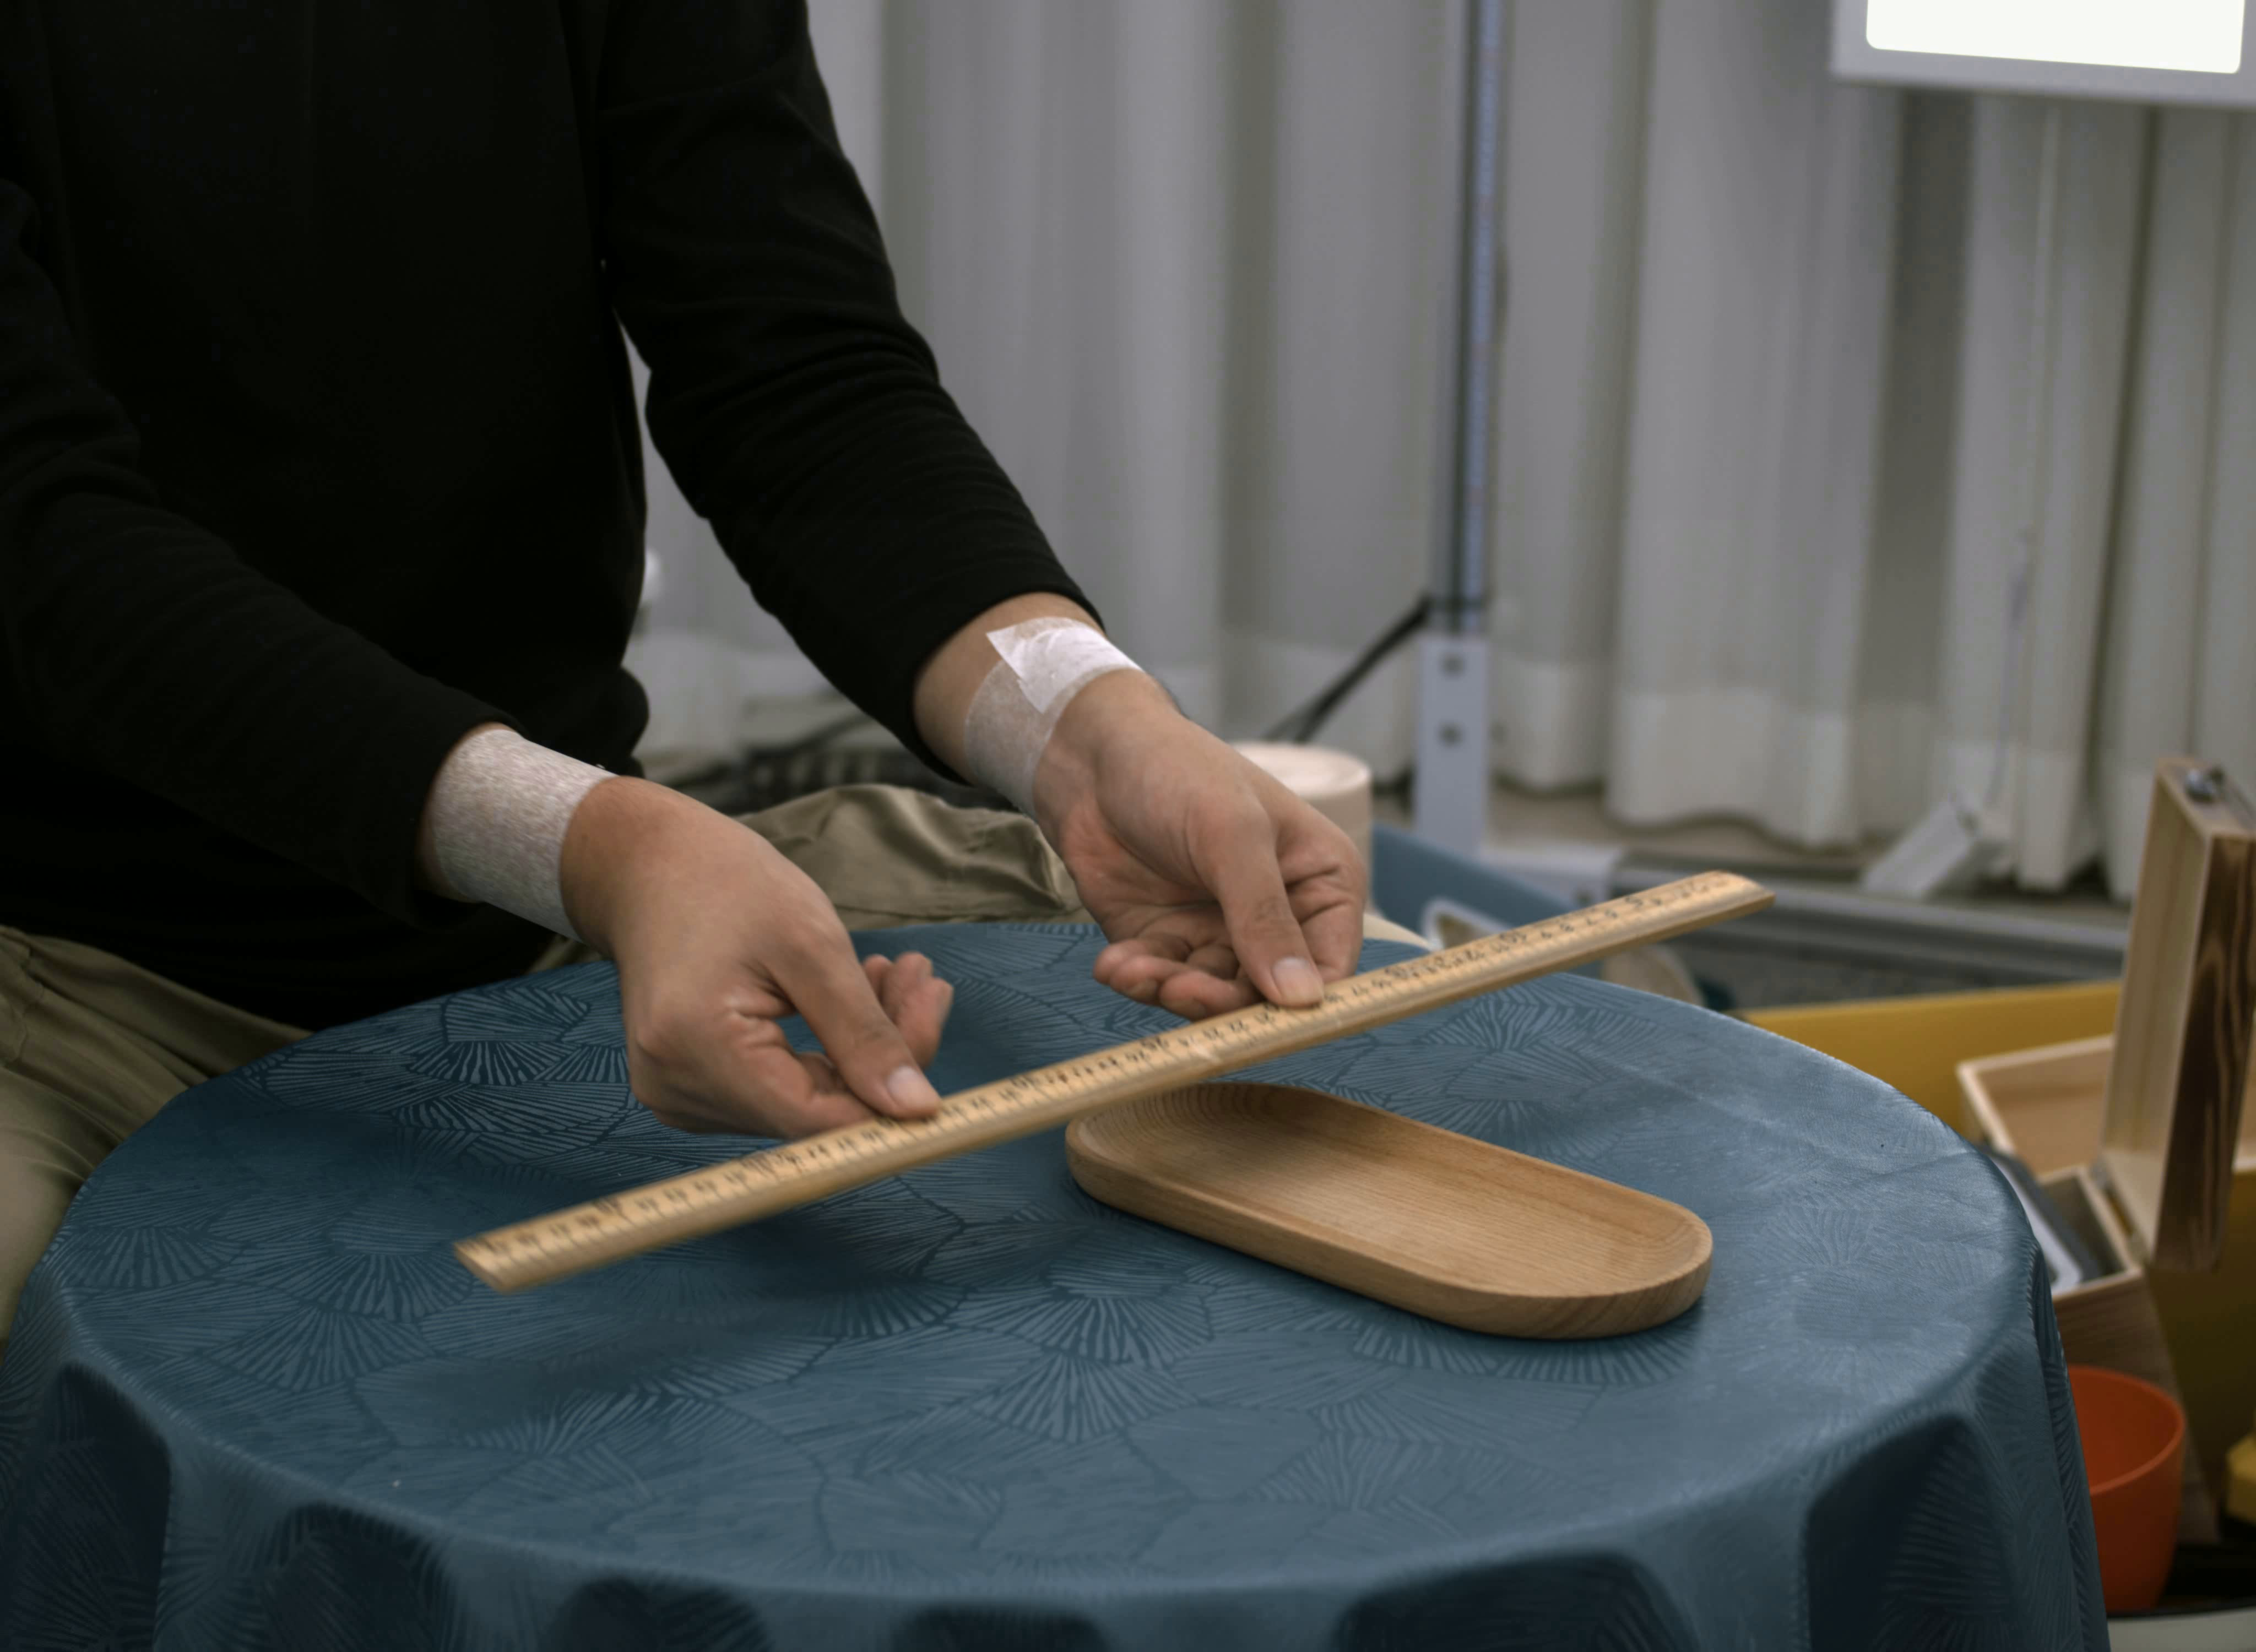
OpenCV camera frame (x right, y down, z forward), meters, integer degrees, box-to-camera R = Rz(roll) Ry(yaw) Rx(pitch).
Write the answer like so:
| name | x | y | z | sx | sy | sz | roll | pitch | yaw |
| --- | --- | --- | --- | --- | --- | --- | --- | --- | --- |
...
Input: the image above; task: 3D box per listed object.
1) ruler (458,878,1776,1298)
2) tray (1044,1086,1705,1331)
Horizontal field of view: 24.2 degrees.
| name | x | y | z | sx | sy | sz | roll | pitch | yaw |
| --- | --- | --- | --- | --- | --- | --- | --- | --- | --- |
| ruler | 0.014 | 0.072 | 1.596 | 0.503 | 0.006 | 0.026 | -15 | 30 | -38 |
| tray | 0.072 | 0.114 | 1.587 | 0.228 | 0.020 | 0.102 | 12 | 18 | 42 |
